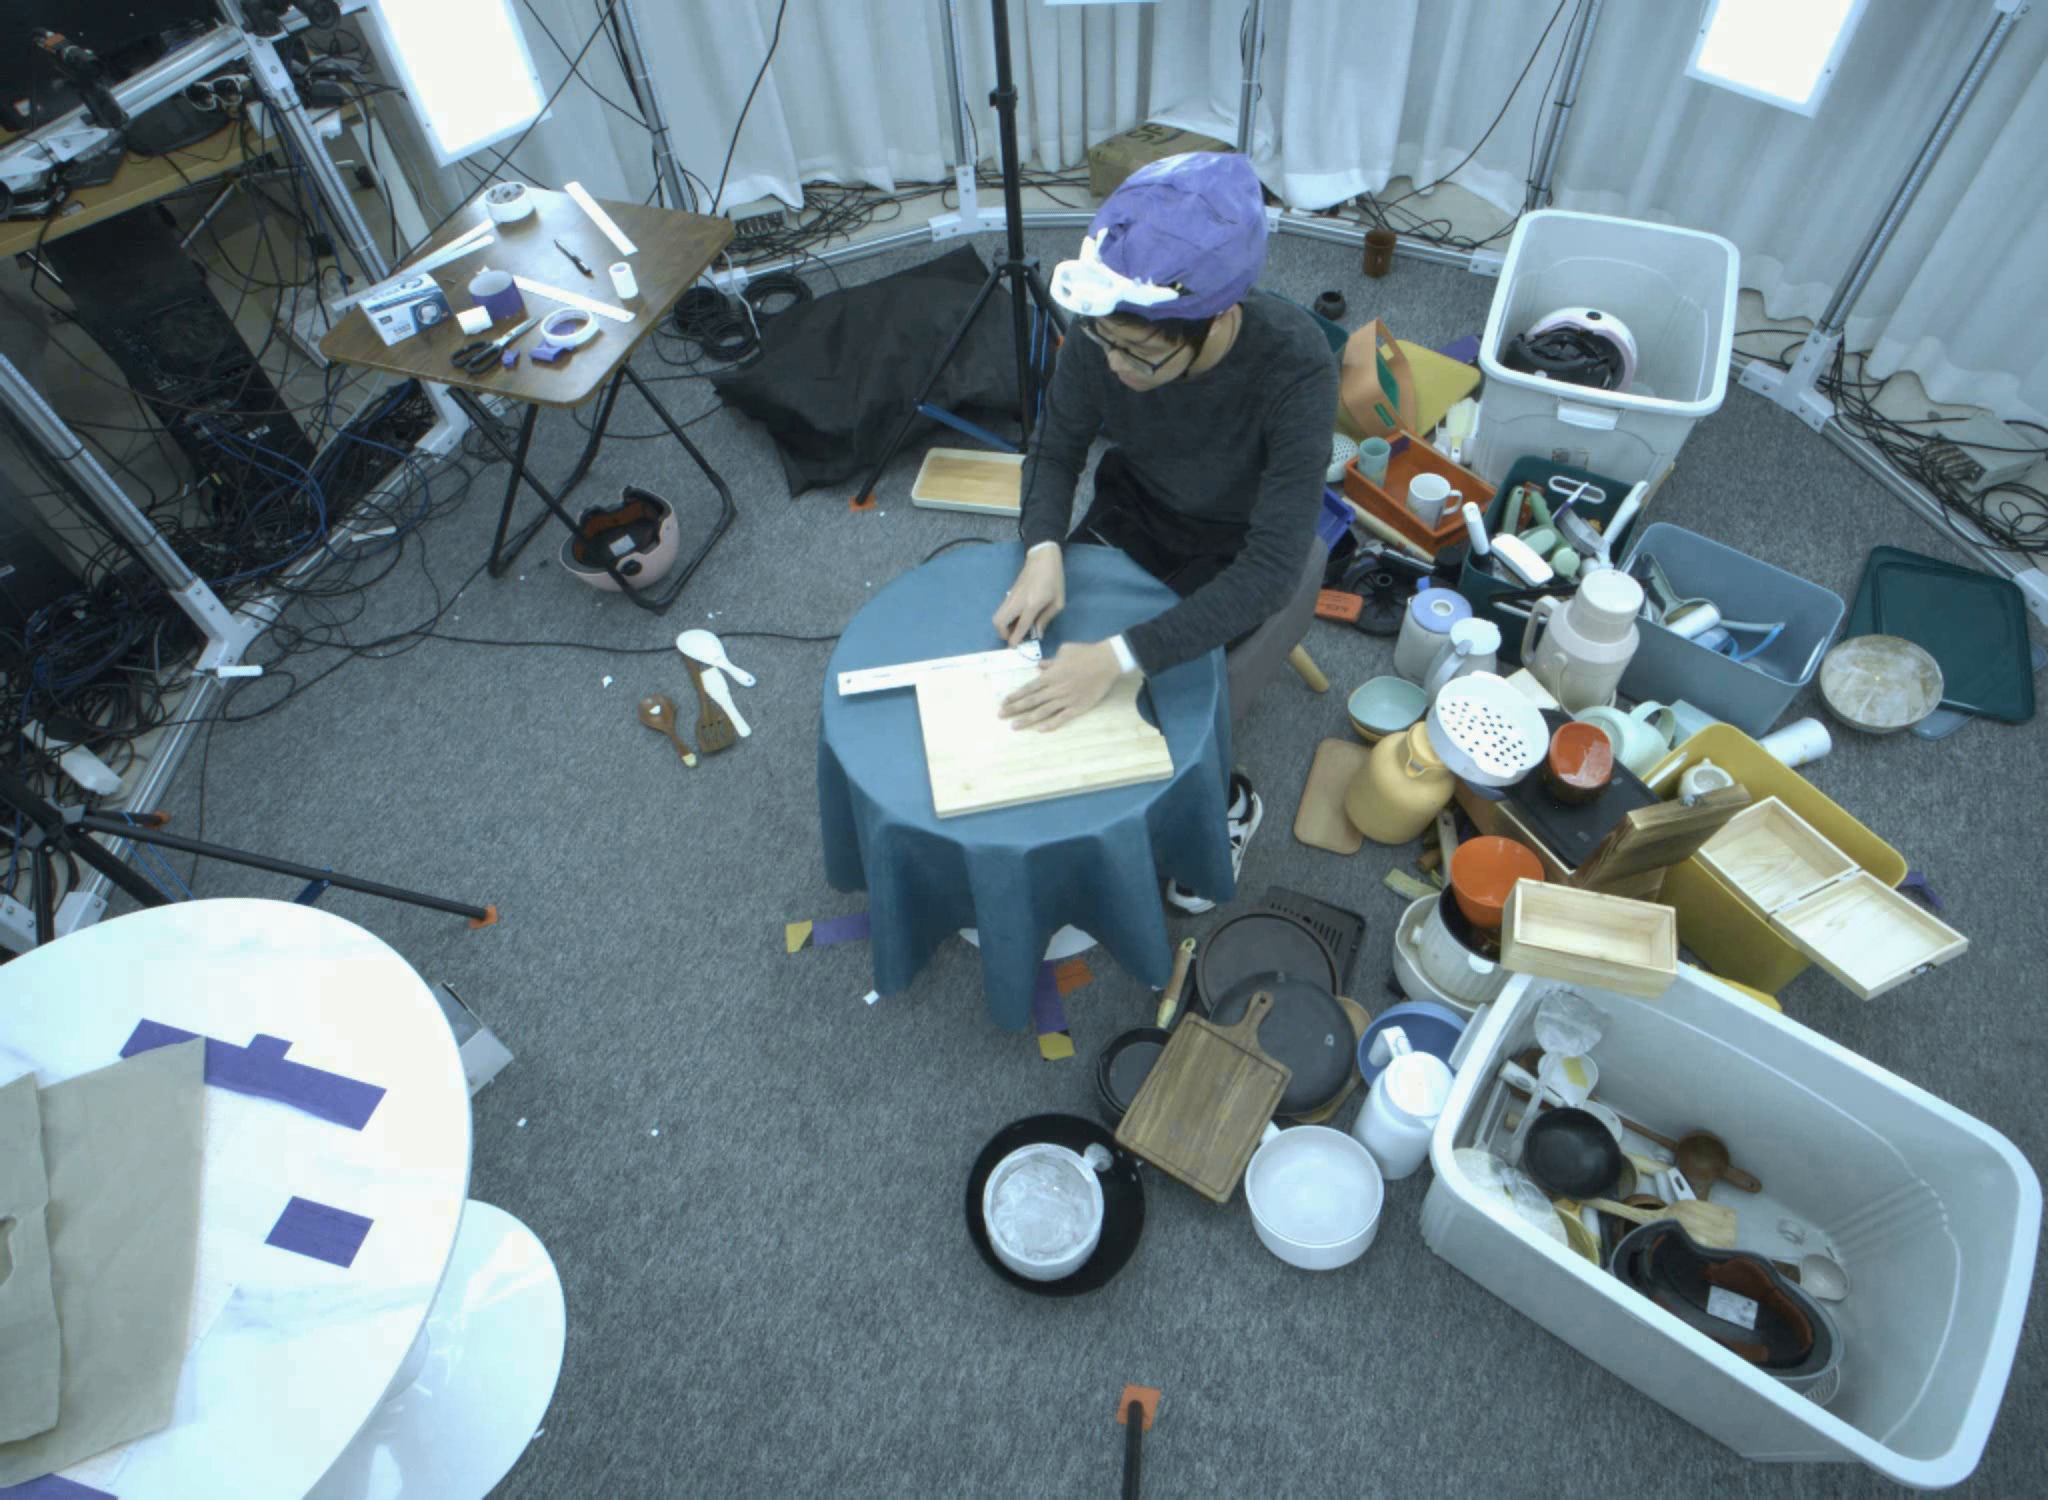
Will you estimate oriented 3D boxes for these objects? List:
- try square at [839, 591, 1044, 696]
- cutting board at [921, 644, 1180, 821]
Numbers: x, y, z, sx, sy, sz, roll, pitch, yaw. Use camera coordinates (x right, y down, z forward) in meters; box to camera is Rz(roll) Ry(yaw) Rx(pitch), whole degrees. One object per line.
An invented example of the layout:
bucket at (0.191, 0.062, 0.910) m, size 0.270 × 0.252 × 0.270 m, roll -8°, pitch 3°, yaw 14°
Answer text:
try square at (-0.132, -0.165, 1.885) m, size 0.314 × 0.016 × 0.150 m, roll -8°, pitch 55°, yaw -4°
cutting board at (0.030, -0.031, 1.799) m, size 0.350 × 0.024 × 0.247 m, roll -11°, pitch 56°, yaw -5°
